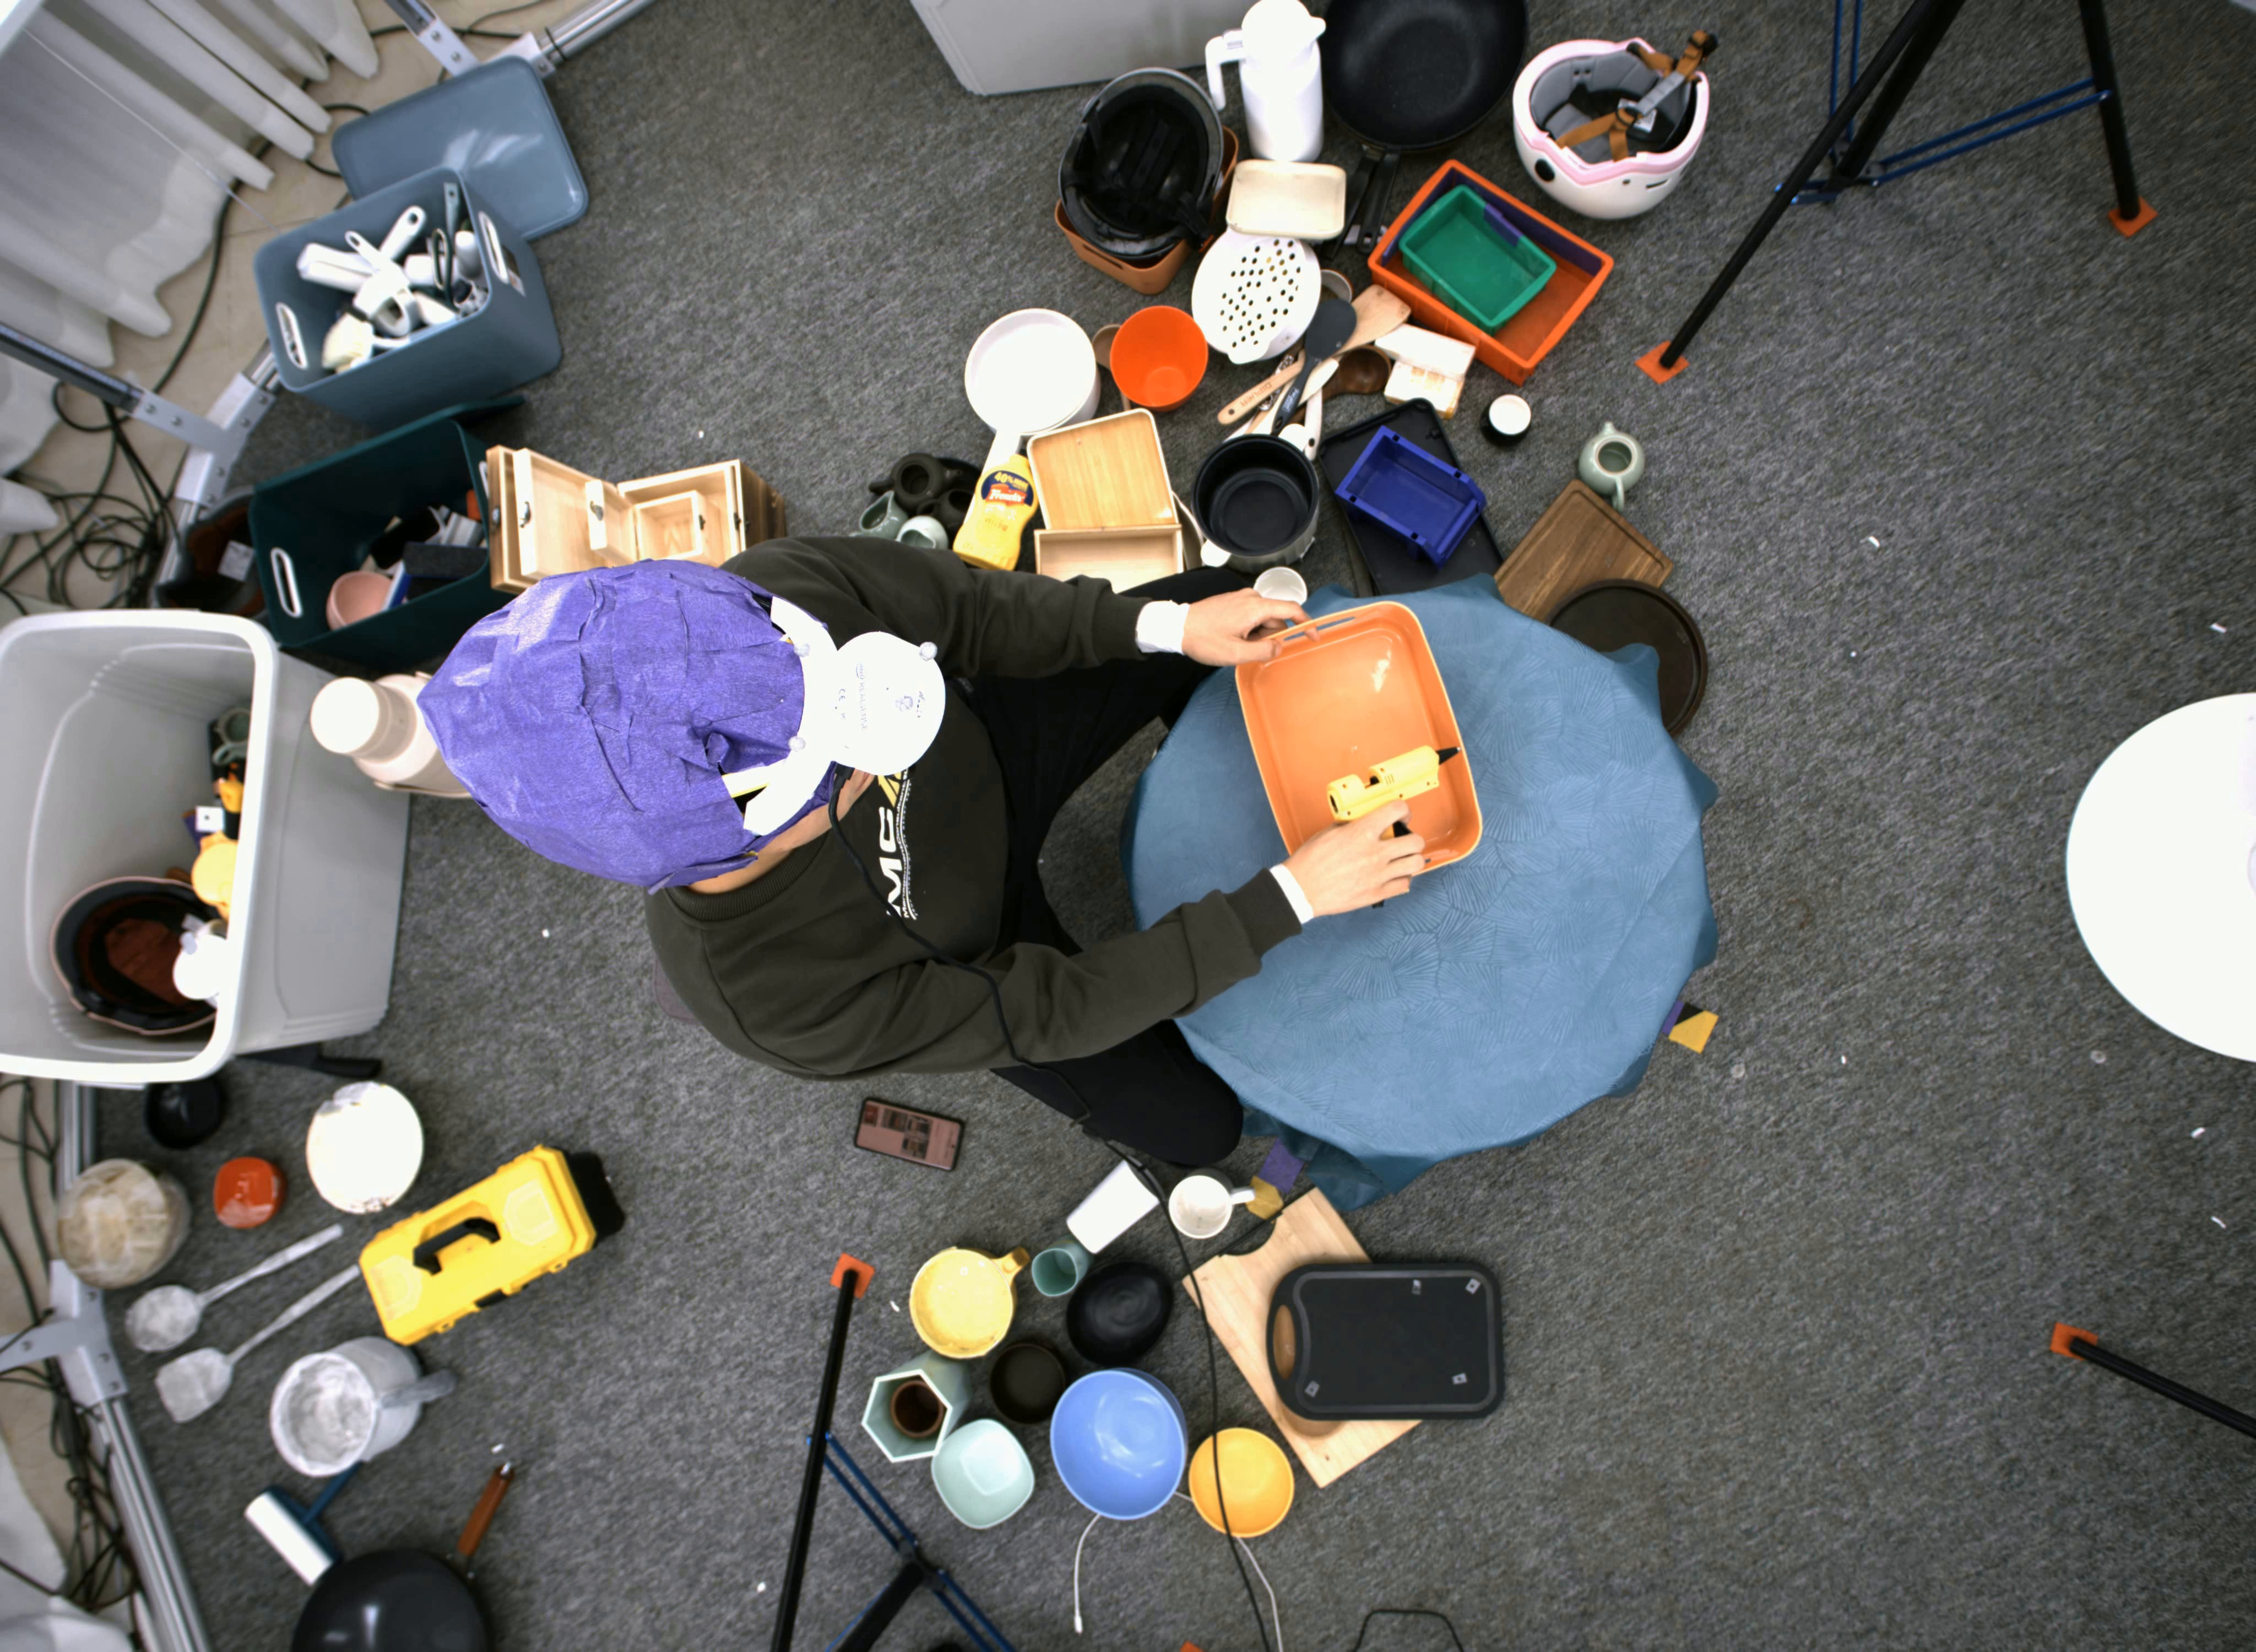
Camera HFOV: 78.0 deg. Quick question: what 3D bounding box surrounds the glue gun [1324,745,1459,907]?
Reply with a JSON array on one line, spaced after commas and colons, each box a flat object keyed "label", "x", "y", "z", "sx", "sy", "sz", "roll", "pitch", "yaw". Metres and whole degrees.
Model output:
[{"label": "glue gun", "x": 0.275, "y": -0.012, "z": 1.336, "sx": 0.150, "sy": 0.031, "sz": 0.134, "roll": -26, "pitch": 103, "yaw": -14}]

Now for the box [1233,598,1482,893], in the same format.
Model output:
[{"label": "box", "x": 0.232, "y": -0.081, "z": 1.408, "sx": 0.200, "sy": 0.102, "sz": 0.273, "roll": -18, "pitch": 93, "yaw": 10}]
